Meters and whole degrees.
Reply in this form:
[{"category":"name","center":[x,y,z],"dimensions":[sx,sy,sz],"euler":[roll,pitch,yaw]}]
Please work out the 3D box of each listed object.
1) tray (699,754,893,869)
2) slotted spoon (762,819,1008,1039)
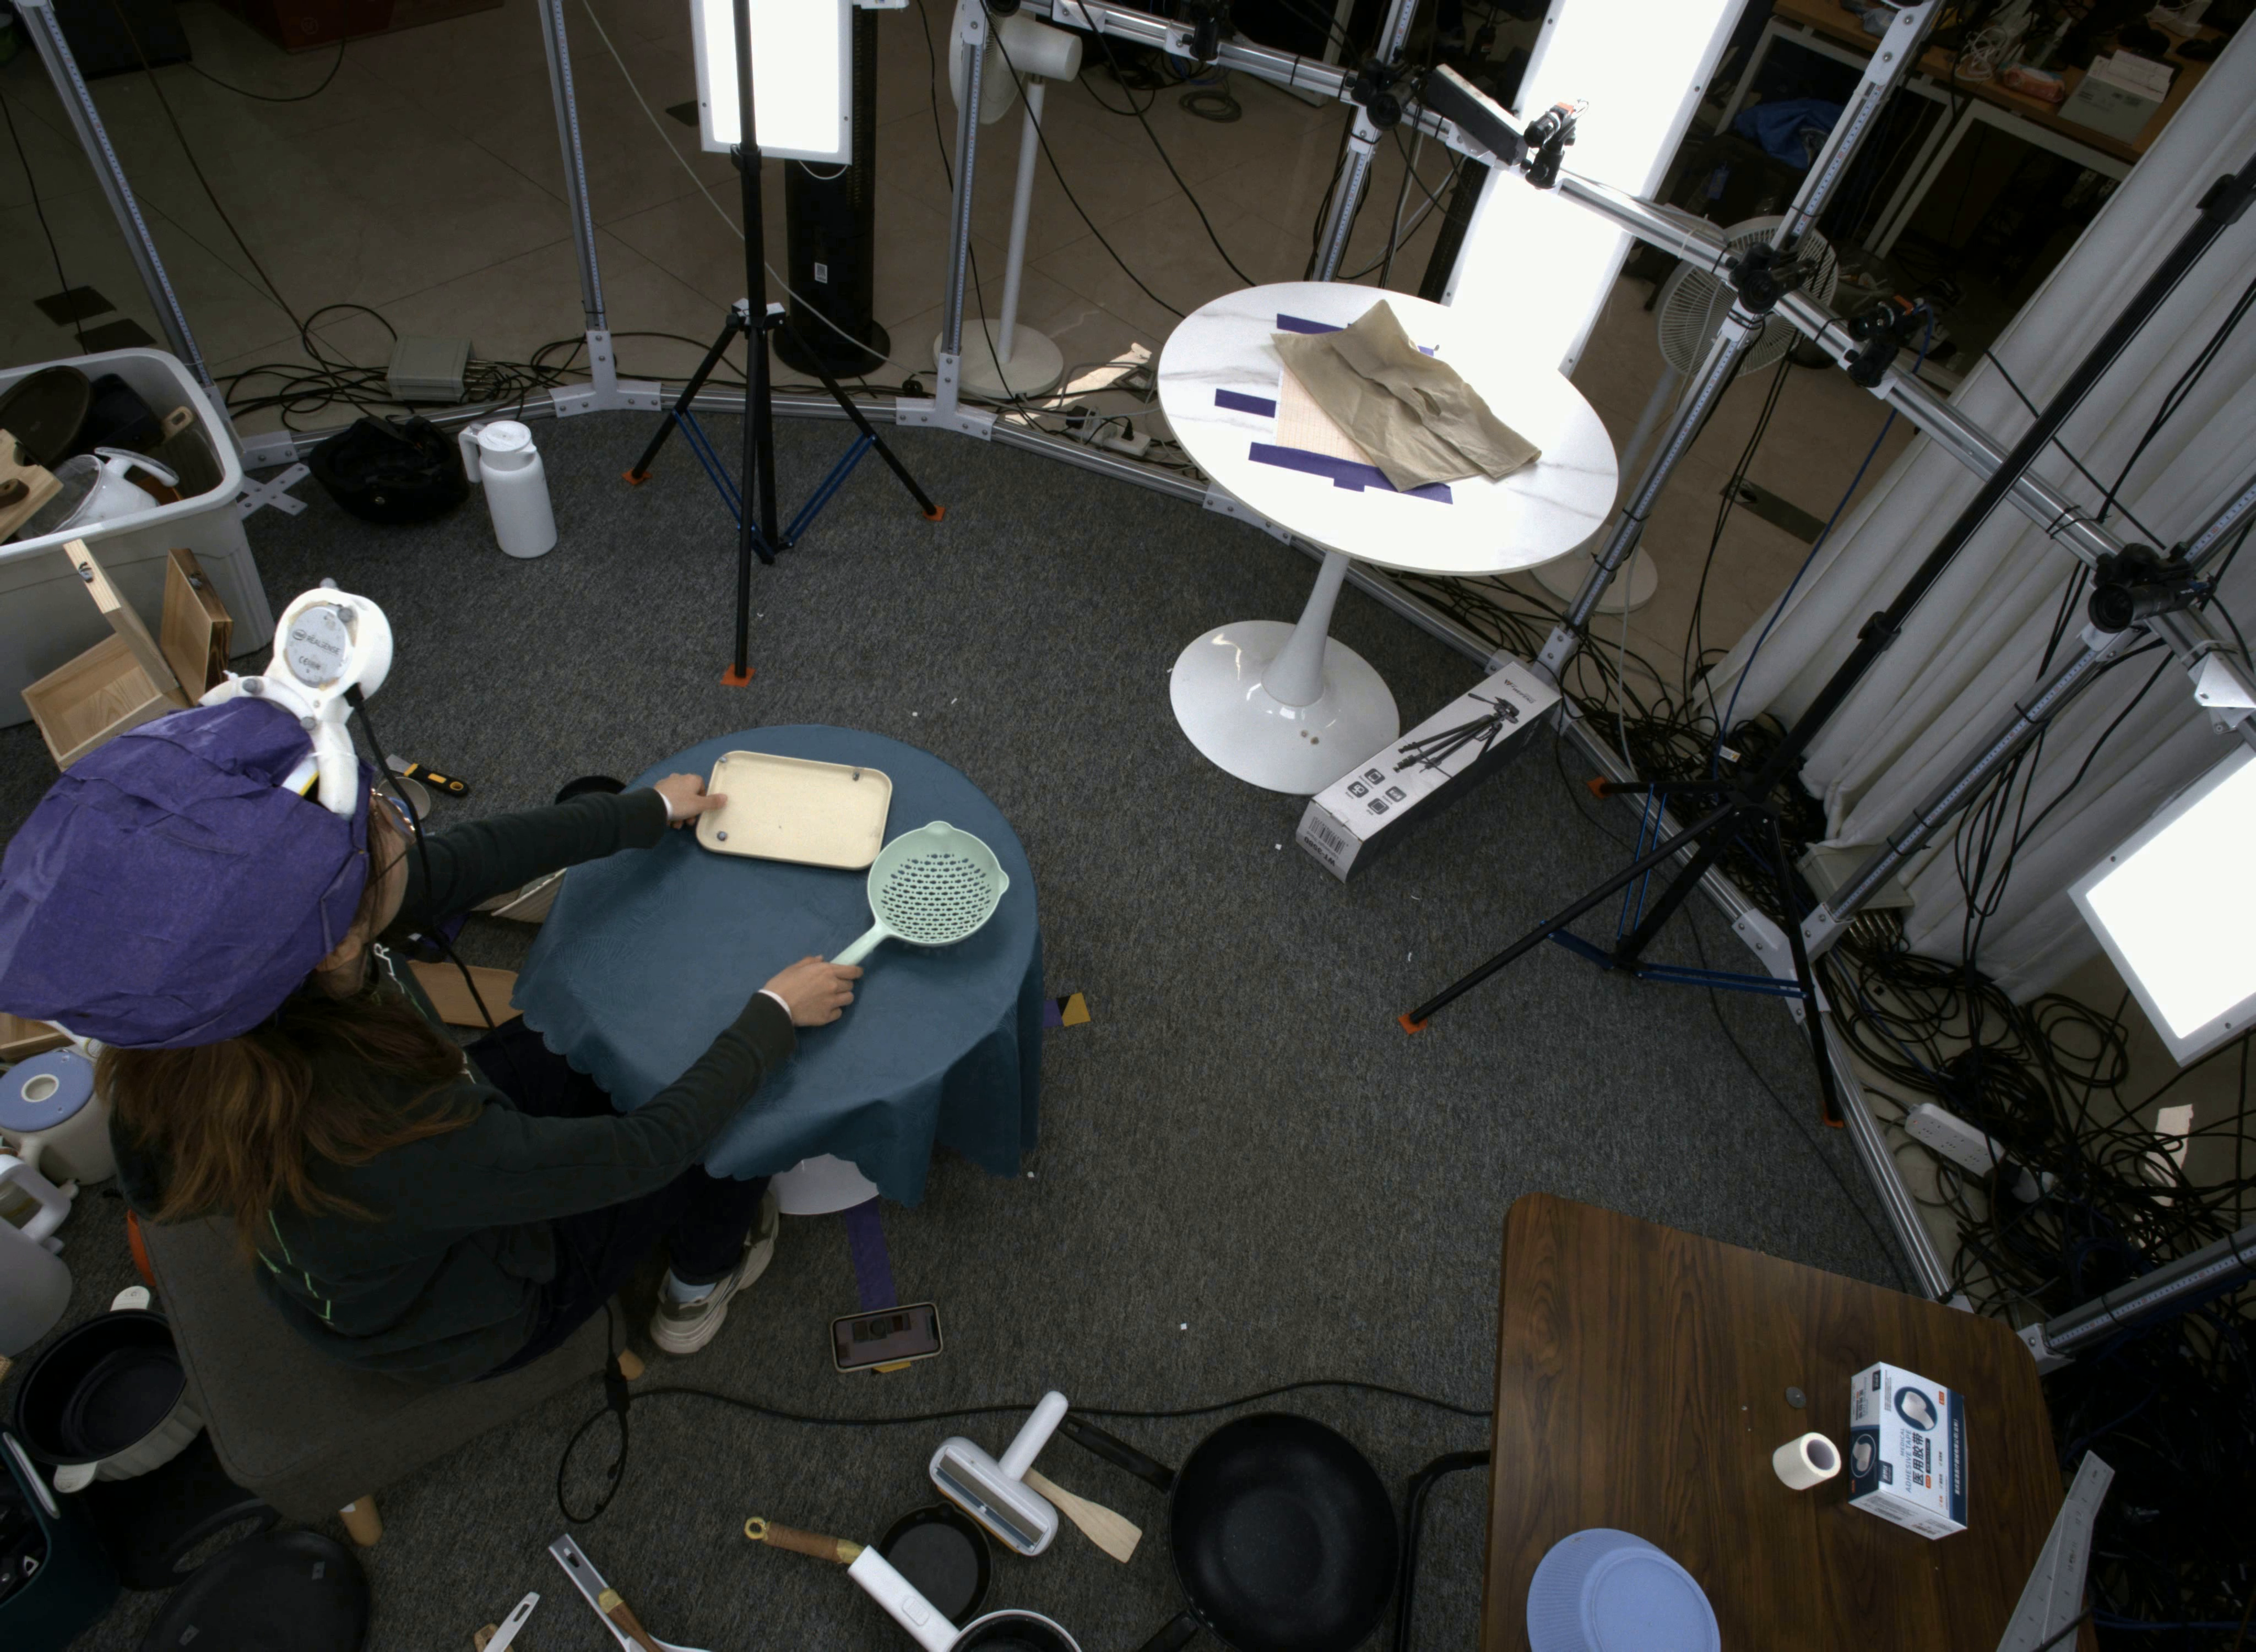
[{"category":"tray","center":[-0.440,-0.019,1.729],"dimensions":[0.239,0.018,0.168],"euler":[7,52,-8]},{"category":"slotted spoon","center":[-0.311,0.135,1.617],"dimensions":[0.165,0.077,0.359],"euler":[40,55,18]}]
